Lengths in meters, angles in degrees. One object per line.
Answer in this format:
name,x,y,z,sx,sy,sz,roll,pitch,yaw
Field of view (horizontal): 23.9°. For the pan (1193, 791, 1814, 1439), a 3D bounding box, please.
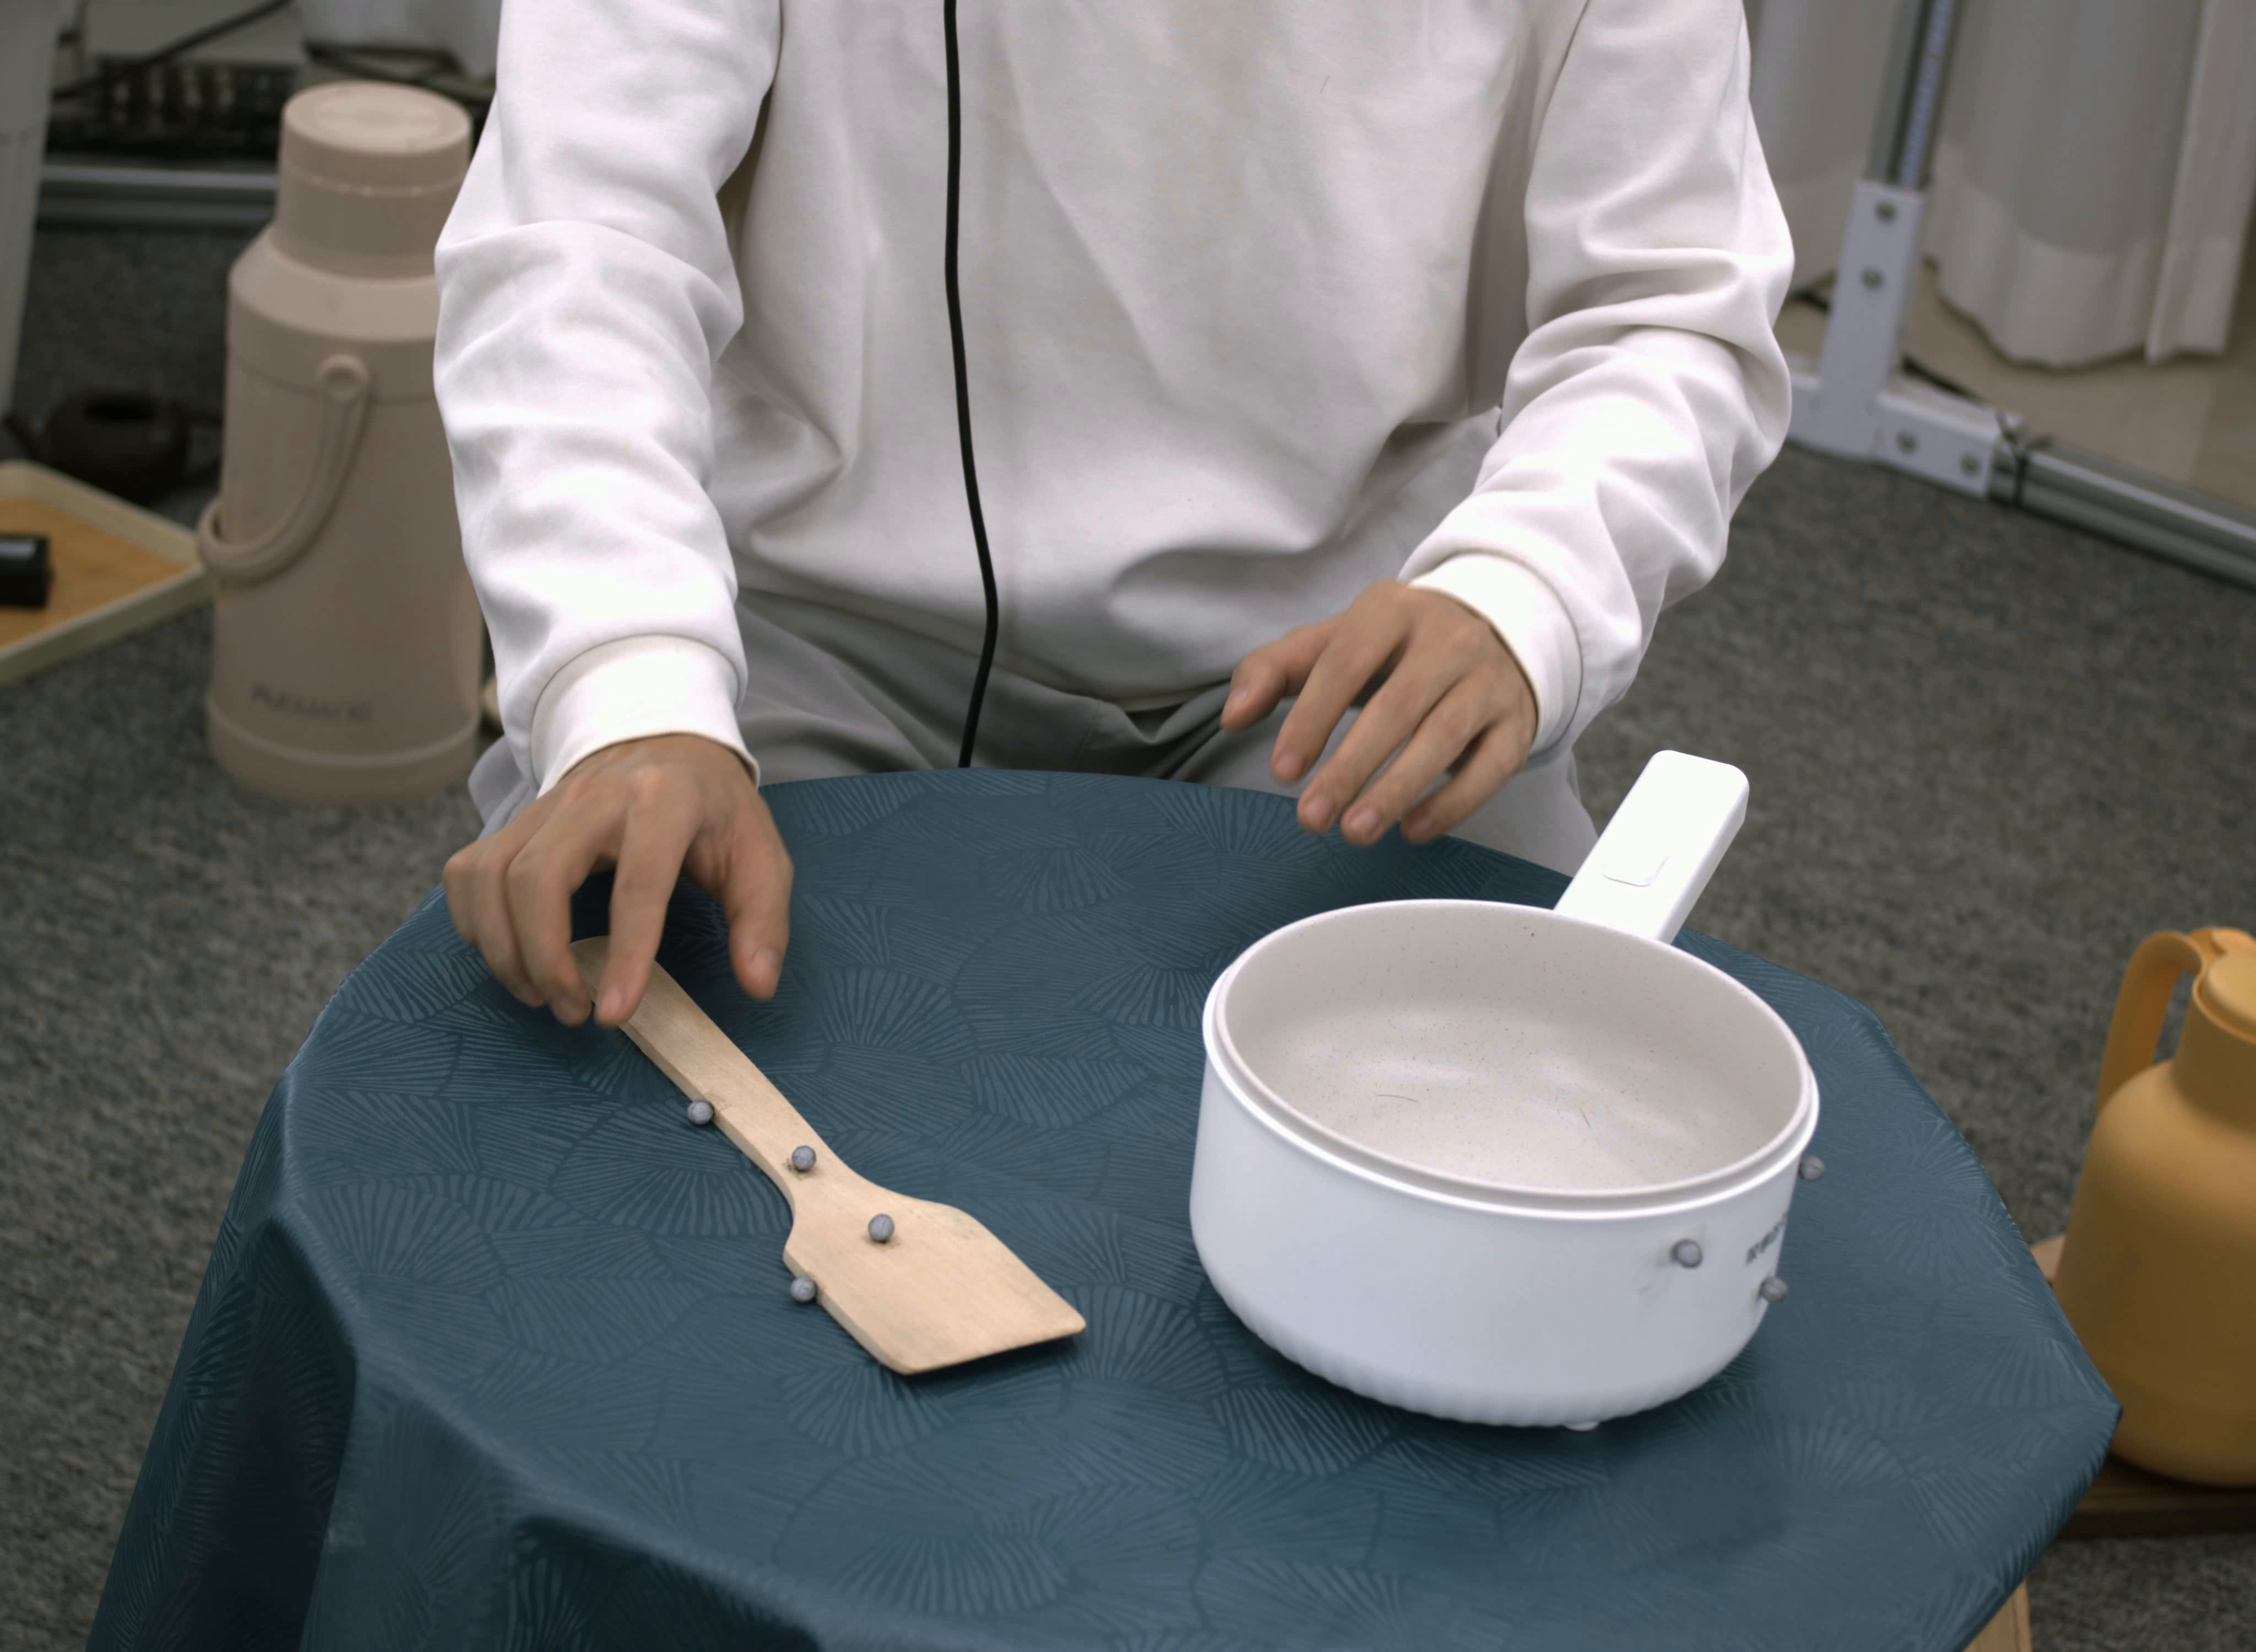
pan,0.144,0.093,1.811,0.201,0.102,0.355,11,24,16
